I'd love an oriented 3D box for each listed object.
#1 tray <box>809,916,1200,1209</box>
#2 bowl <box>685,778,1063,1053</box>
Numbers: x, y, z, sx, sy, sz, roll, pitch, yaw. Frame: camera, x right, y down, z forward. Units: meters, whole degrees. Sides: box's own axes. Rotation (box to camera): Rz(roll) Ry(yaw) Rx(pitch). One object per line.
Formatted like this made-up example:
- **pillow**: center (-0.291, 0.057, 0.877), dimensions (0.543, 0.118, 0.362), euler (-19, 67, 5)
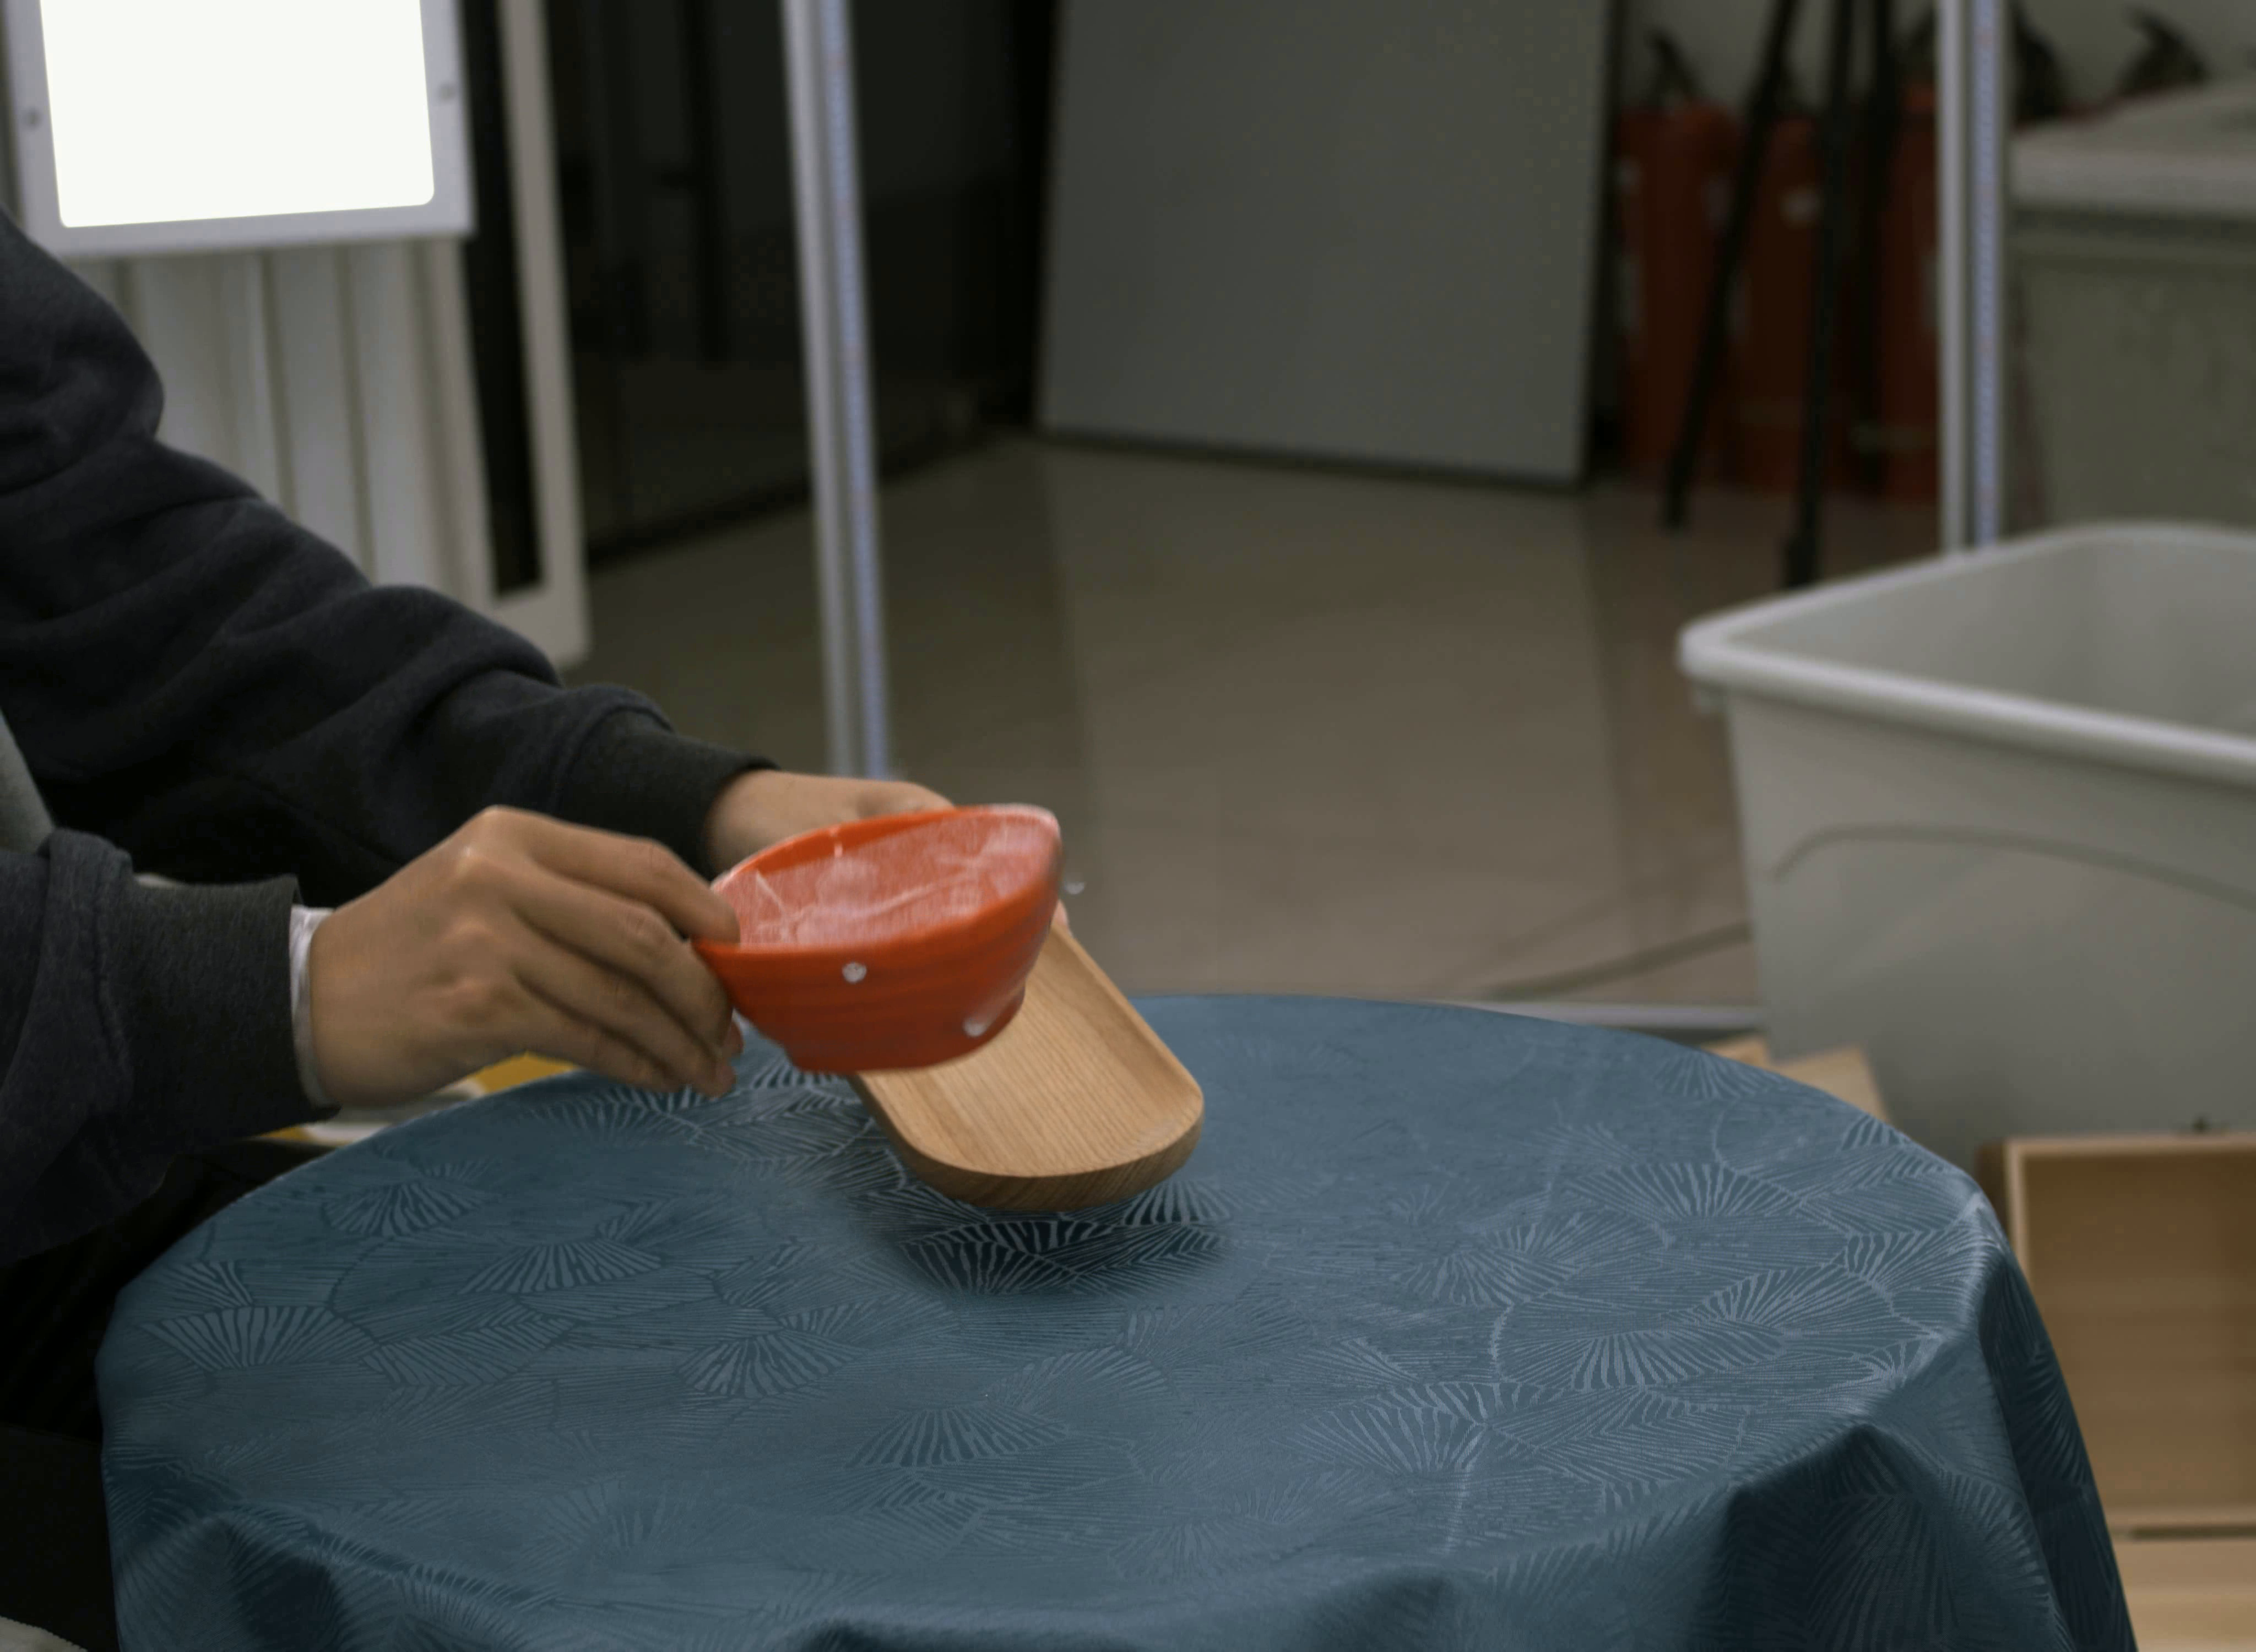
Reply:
- **tray**: center (-0.048, 0.074, 1.787), dimensions (0.100, 0.020, 0.233), euler (-10, 21, -17)
- **bowl**: center (-0.070, 0.030, 1.596), dimensions (0.117, 0.052, 0.119), euler (-12, 19, 3)
